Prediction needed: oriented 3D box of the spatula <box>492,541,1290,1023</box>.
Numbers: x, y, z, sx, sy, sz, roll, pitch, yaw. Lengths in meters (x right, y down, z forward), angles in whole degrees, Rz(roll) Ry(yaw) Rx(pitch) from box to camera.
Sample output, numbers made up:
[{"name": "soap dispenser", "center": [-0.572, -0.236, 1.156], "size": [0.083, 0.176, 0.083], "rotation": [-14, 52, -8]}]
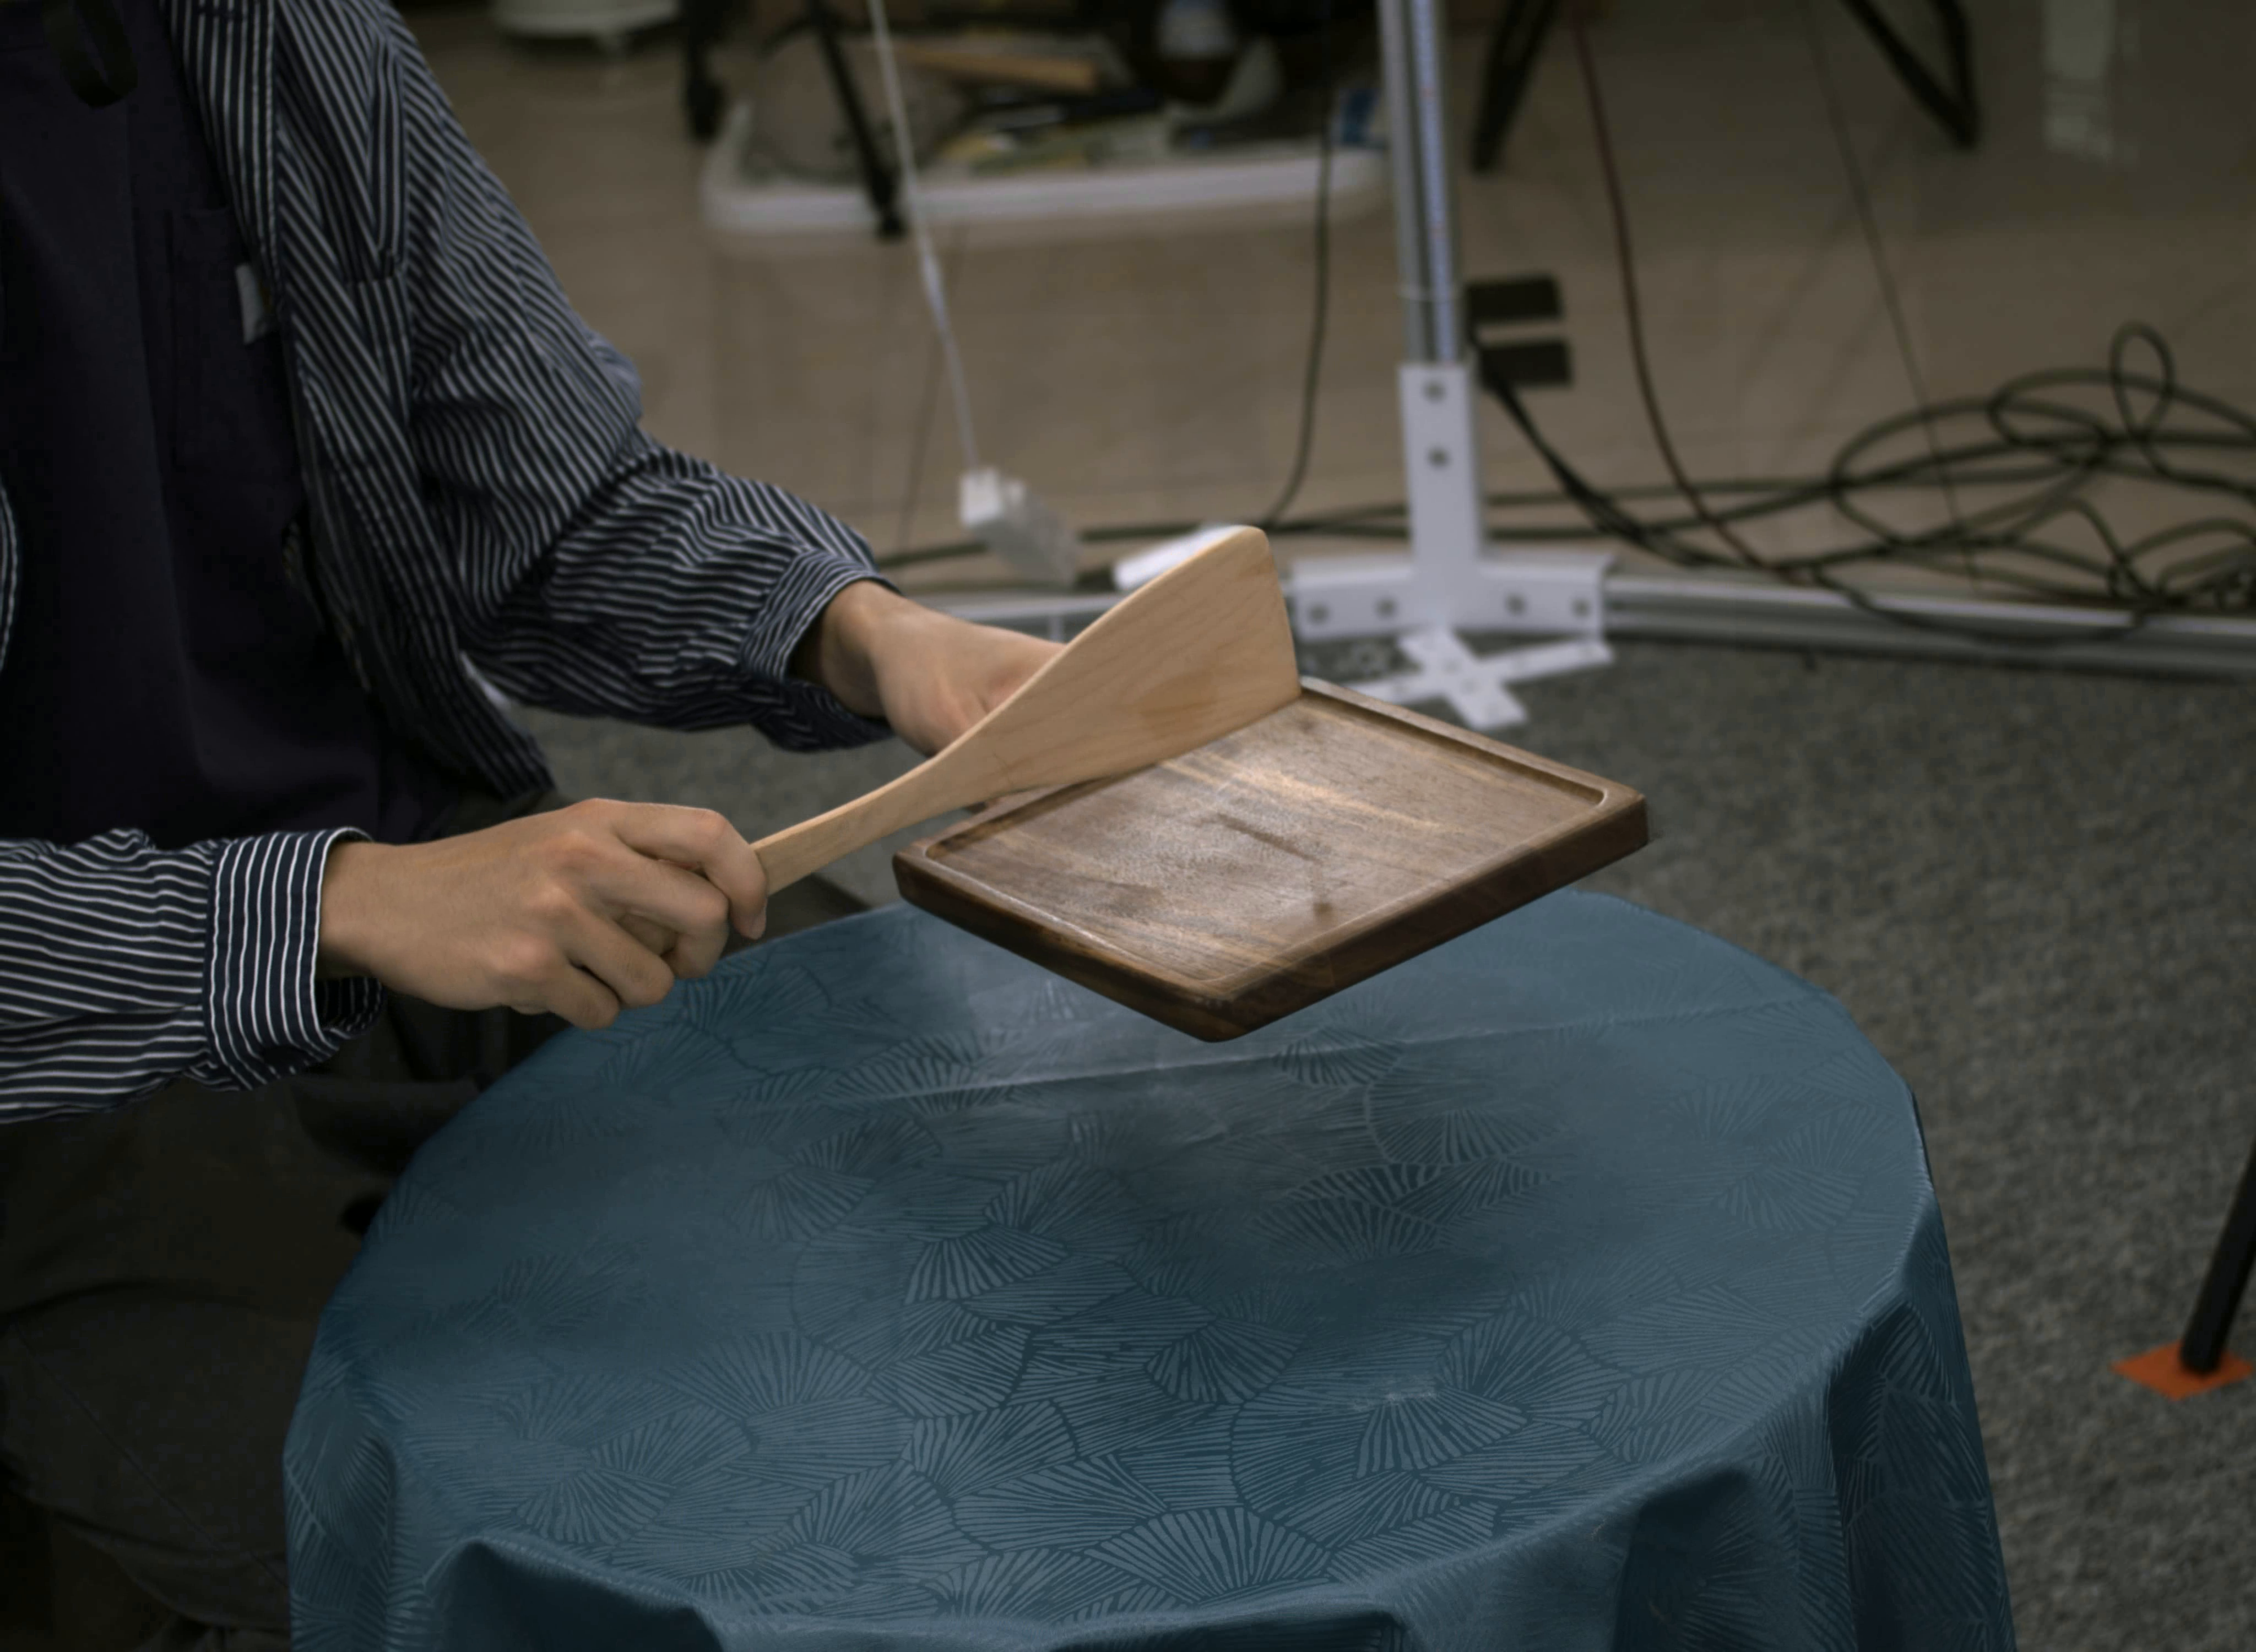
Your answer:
[{"name": "spatula", "center": [-0.087, -0.006, 2.091], "size": [0.327, 0.081, 0.016], "rotation": [-26, 38, 2]}]

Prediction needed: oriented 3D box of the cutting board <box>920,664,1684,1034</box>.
[{"name": "cutting board", "center": [0.038, -0.006, 2.164], "size": [0.200, 0.023, 0.349], "rotation": [-24, 23, -22]}]
